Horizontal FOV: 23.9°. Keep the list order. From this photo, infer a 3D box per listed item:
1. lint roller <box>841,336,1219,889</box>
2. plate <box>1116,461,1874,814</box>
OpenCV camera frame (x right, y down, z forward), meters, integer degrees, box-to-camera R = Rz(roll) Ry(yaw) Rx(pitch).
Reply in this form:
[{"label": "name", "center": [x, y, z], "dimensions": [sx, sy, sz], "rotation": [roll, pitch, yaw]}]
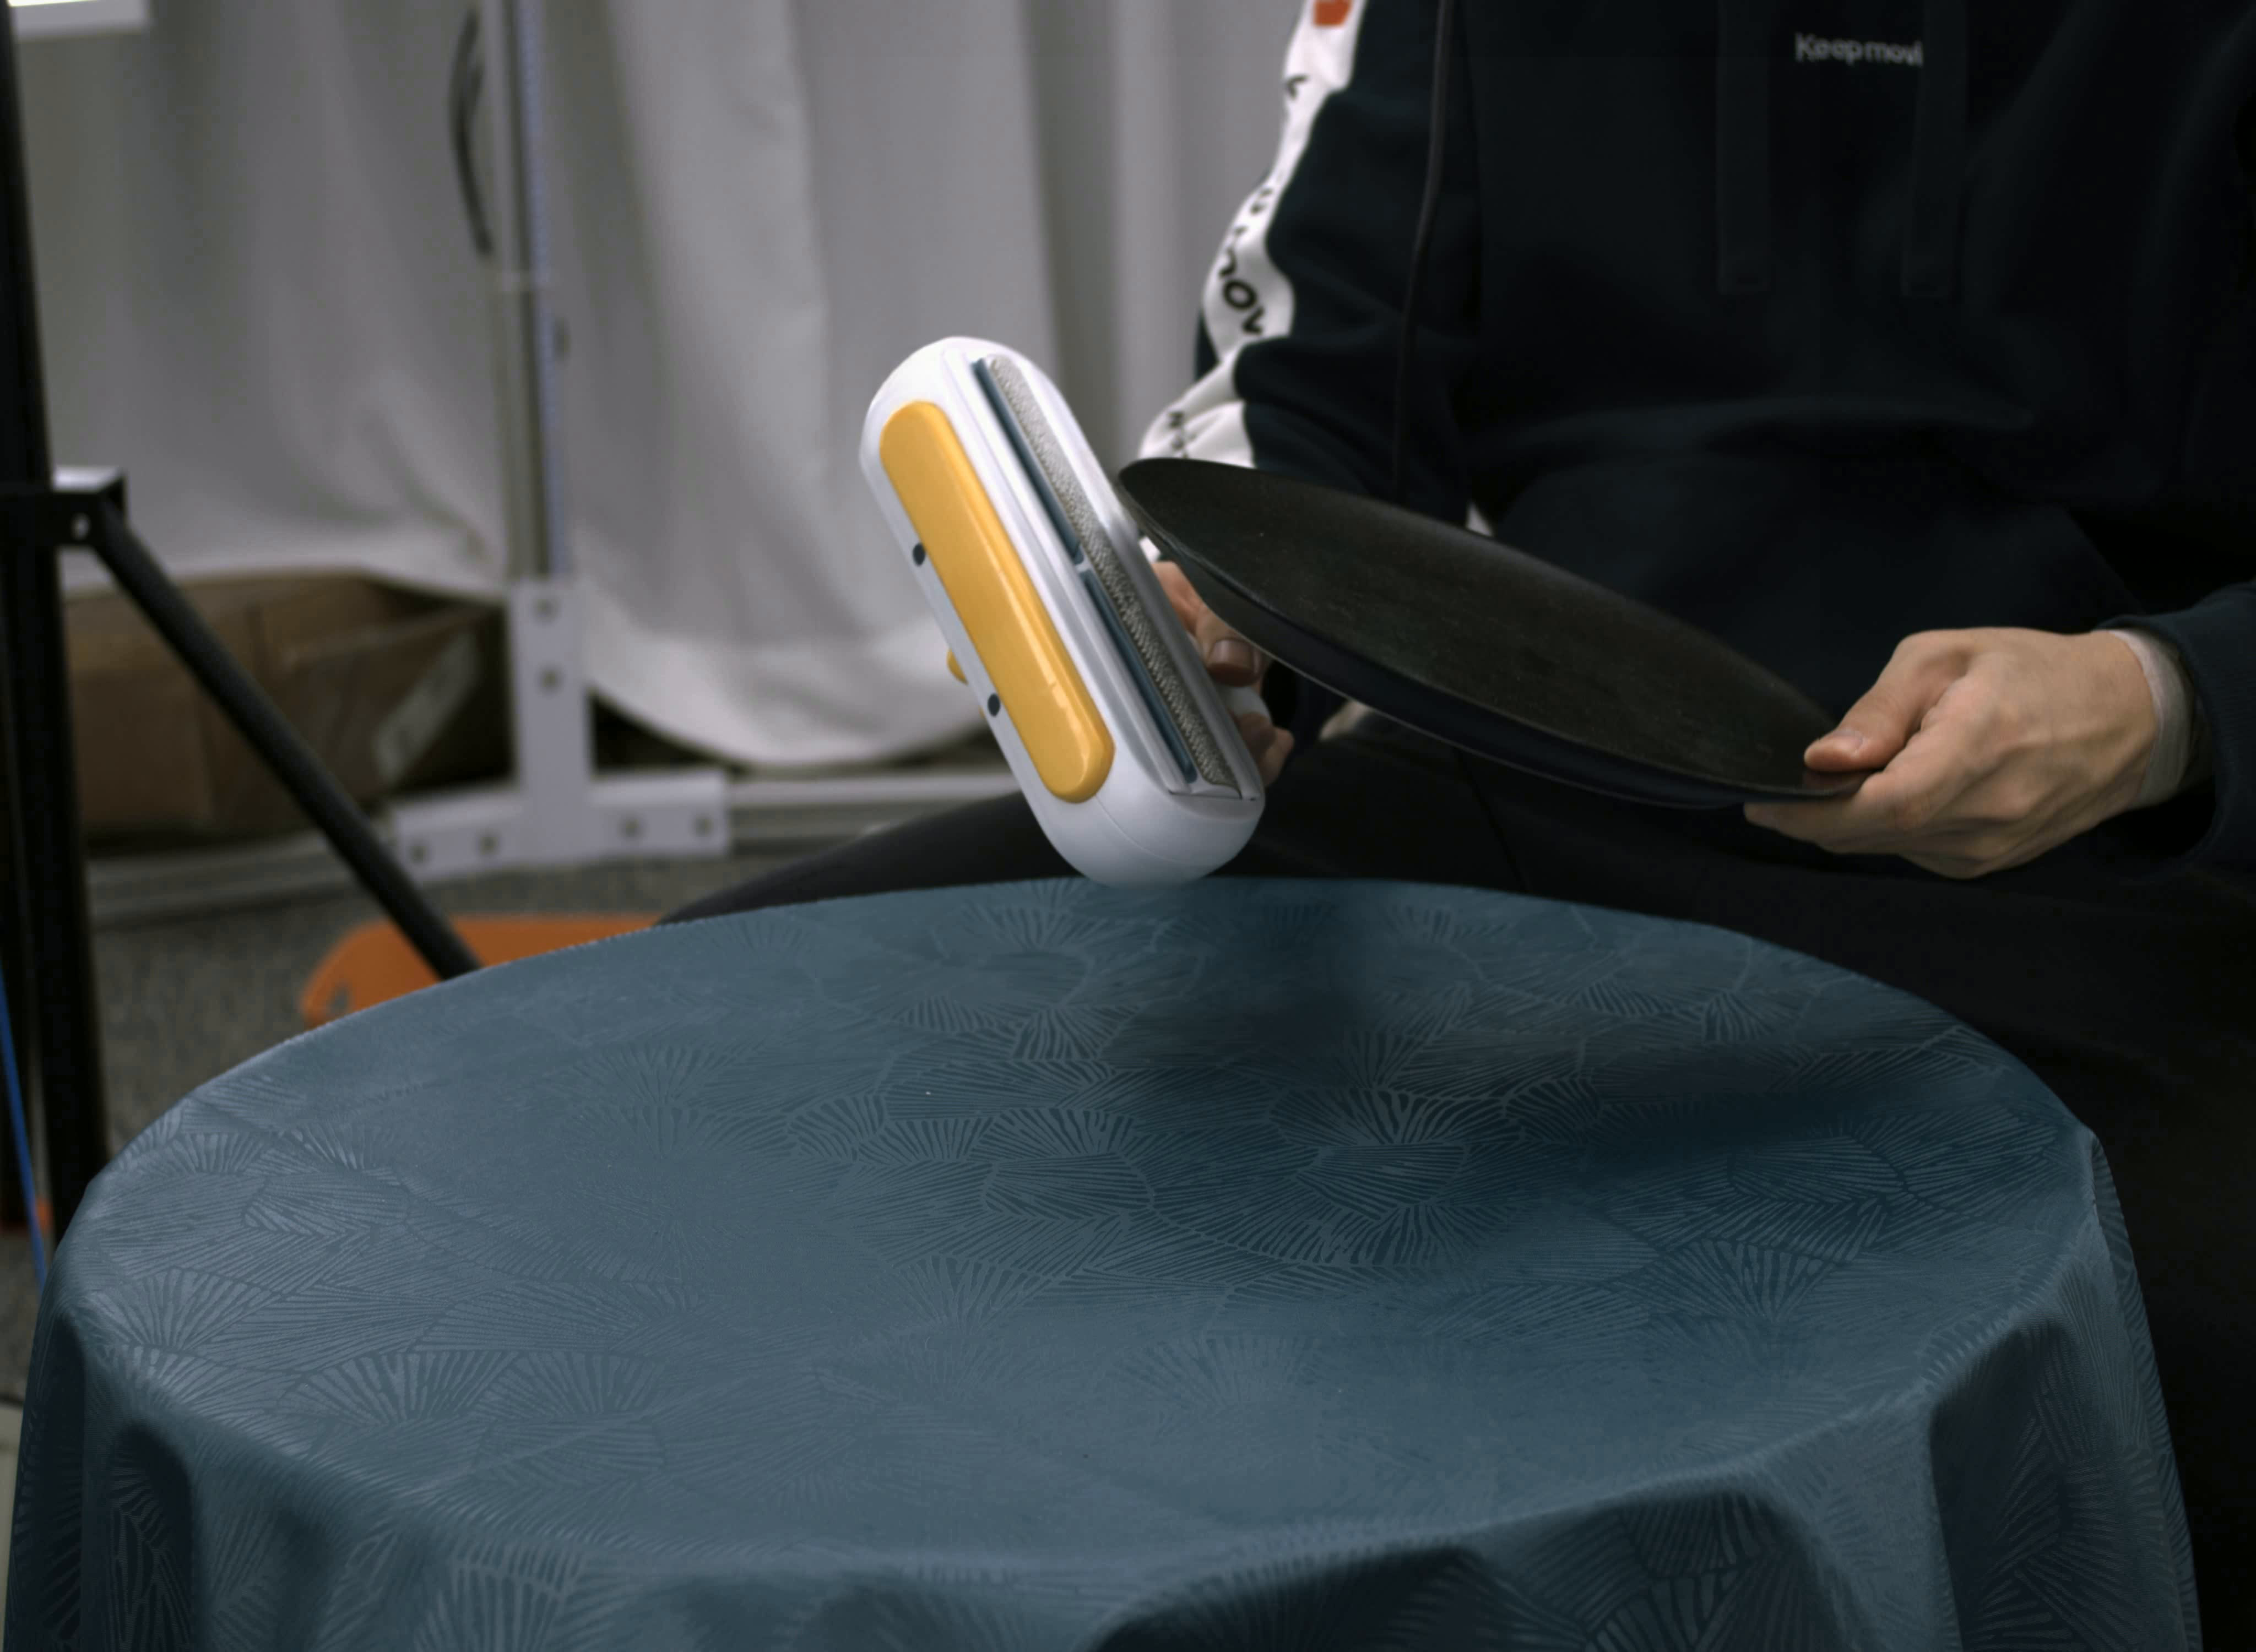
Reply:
[{"label": "lint roller", "center": [-0.010, -0.044, 1.691], "dimensions": [0.074, 0.196, 0.188], "rotation": [-36, -32, 12]}, {"label": "plate", "center": [0.107, -0.052, 1.595], "dimensions": [0.242, 0.023, 0.246], "rotation": [19, 15, -7]}]
